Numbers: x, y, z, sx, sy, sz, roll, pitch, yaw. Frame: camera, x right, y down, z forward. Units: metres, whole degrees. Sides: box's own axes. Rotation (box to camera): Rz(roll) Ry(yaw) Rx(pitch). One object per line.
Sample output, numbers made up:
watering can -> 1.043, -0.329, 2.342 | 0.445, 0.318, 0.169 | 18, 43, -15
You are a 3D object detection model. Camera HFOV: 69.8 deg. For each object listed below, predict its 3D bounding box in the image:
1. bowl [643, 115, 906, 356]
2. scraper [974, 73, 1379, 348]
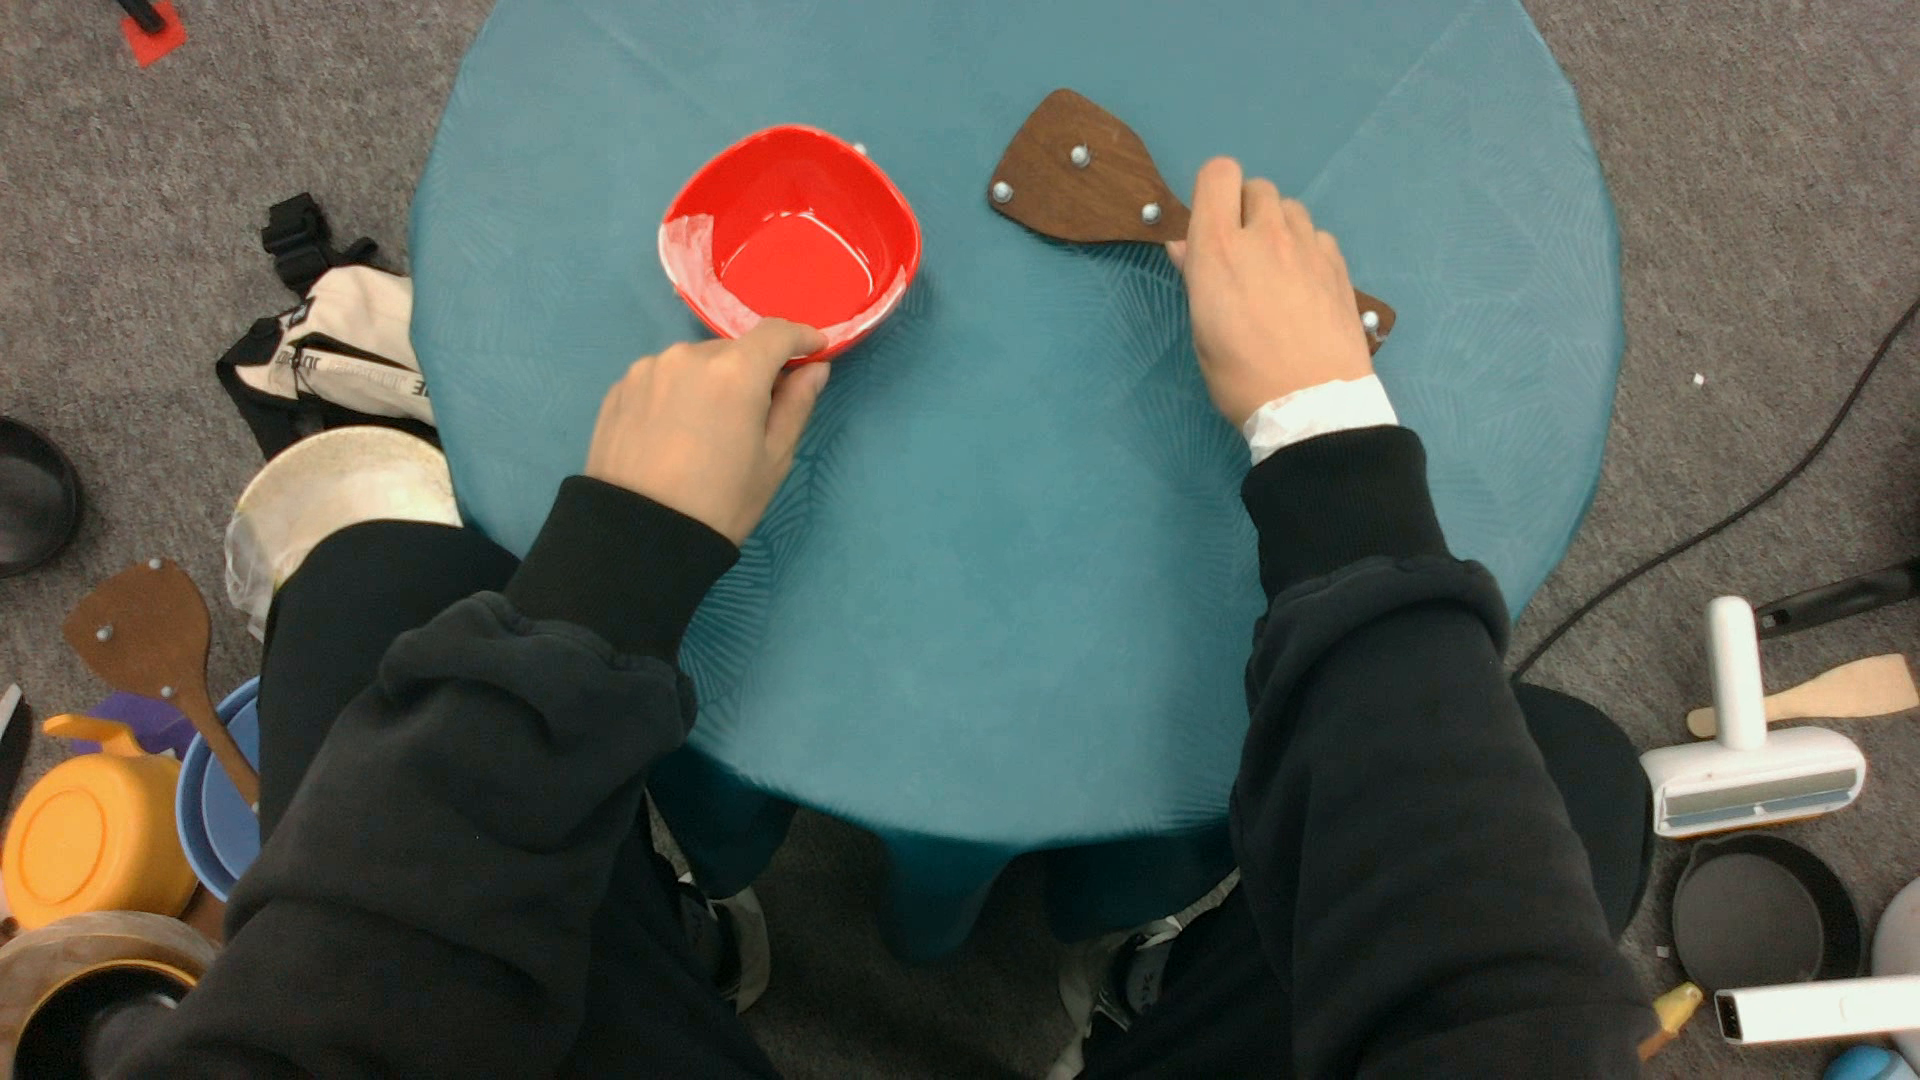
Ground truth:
bowl -> -0.086, -0.135, 0.650 | 0.119, 0.051, 0.119 | 1, 74, -4
scraper -> 0.106, -0.153, 0.667 | 0.211, 0.011, 0.076 | 34, 85, 16
